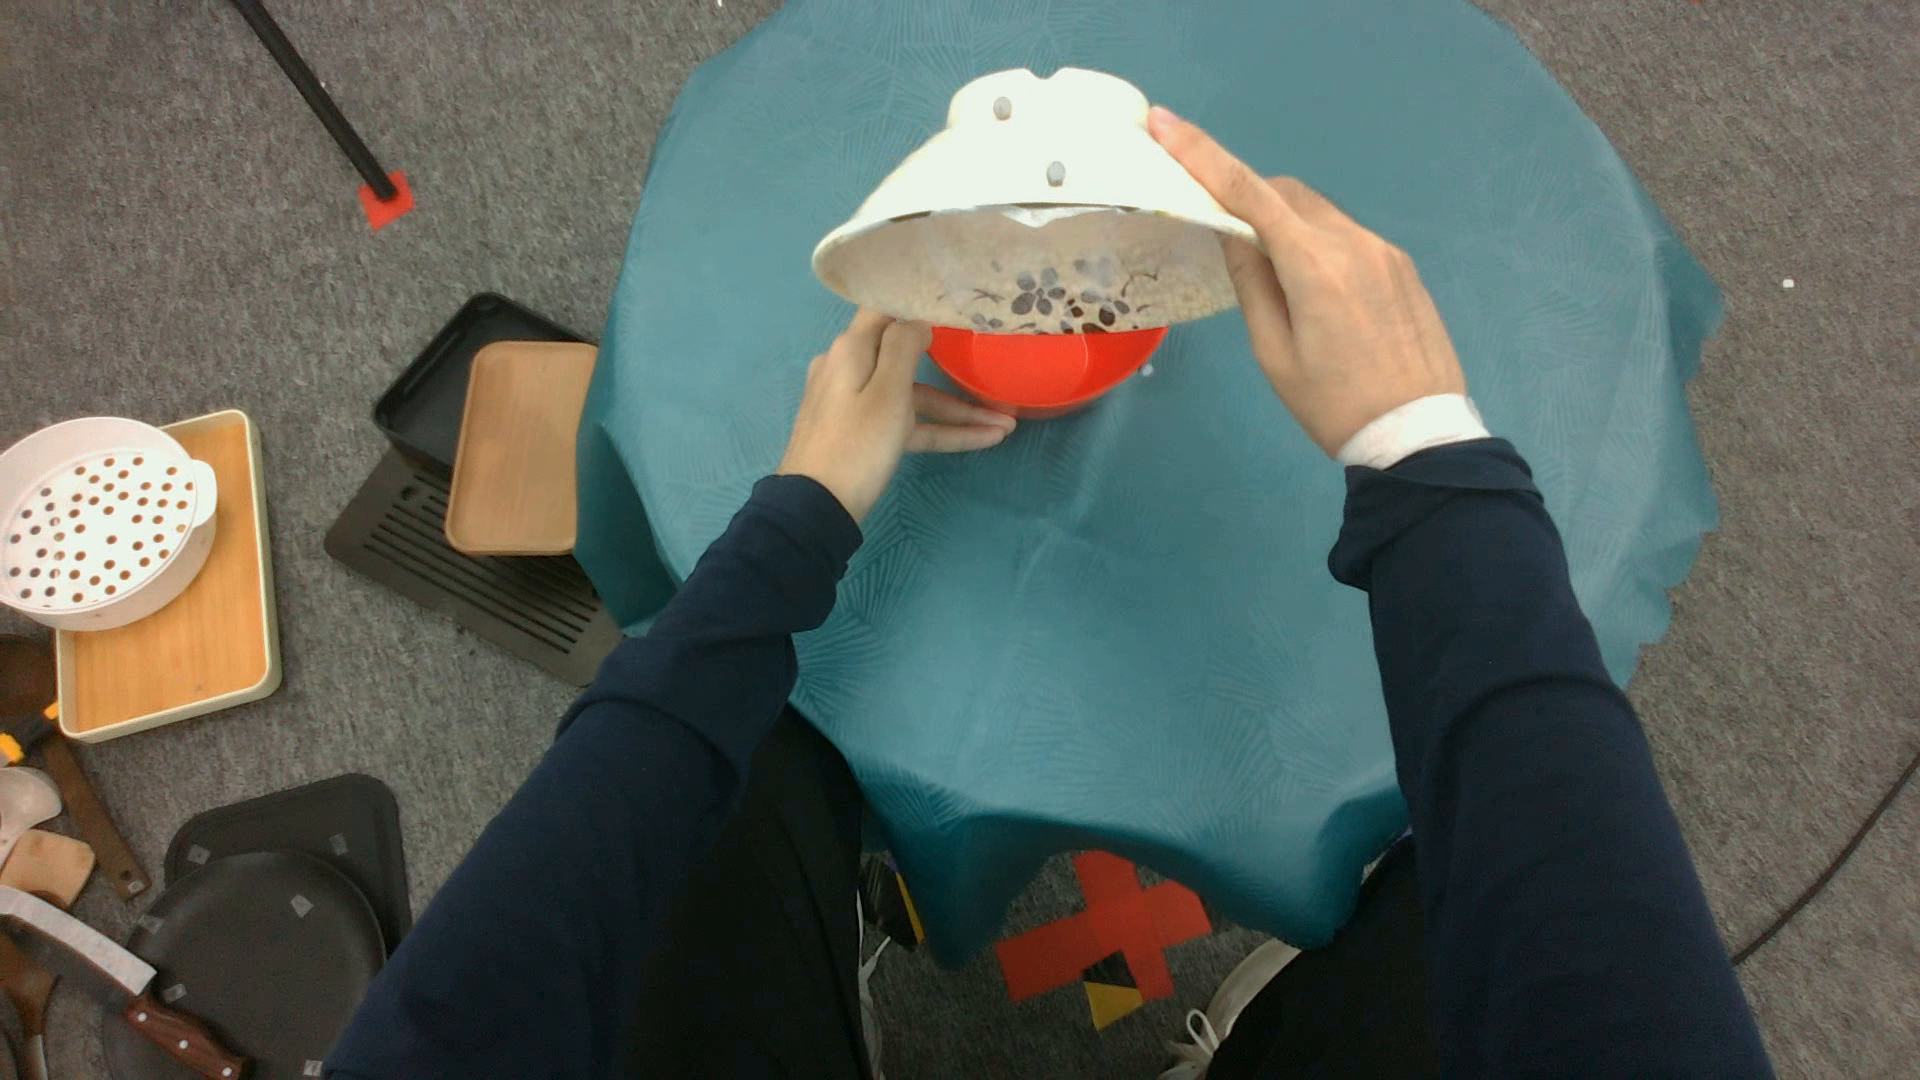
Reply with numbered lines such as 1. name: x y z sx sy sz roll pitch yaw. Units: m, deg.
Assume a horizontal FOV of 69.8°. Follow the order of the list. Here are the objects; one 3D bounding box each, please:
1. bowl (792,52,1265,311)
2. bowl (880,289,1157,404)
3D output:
1. bowl: 0.029 -0.159 0.603 0.204 0.204 0.078 -1 87 0
2. bowl: 0.028 -0.137 0.730 0.148 0.104 0.148 1 74 -3
